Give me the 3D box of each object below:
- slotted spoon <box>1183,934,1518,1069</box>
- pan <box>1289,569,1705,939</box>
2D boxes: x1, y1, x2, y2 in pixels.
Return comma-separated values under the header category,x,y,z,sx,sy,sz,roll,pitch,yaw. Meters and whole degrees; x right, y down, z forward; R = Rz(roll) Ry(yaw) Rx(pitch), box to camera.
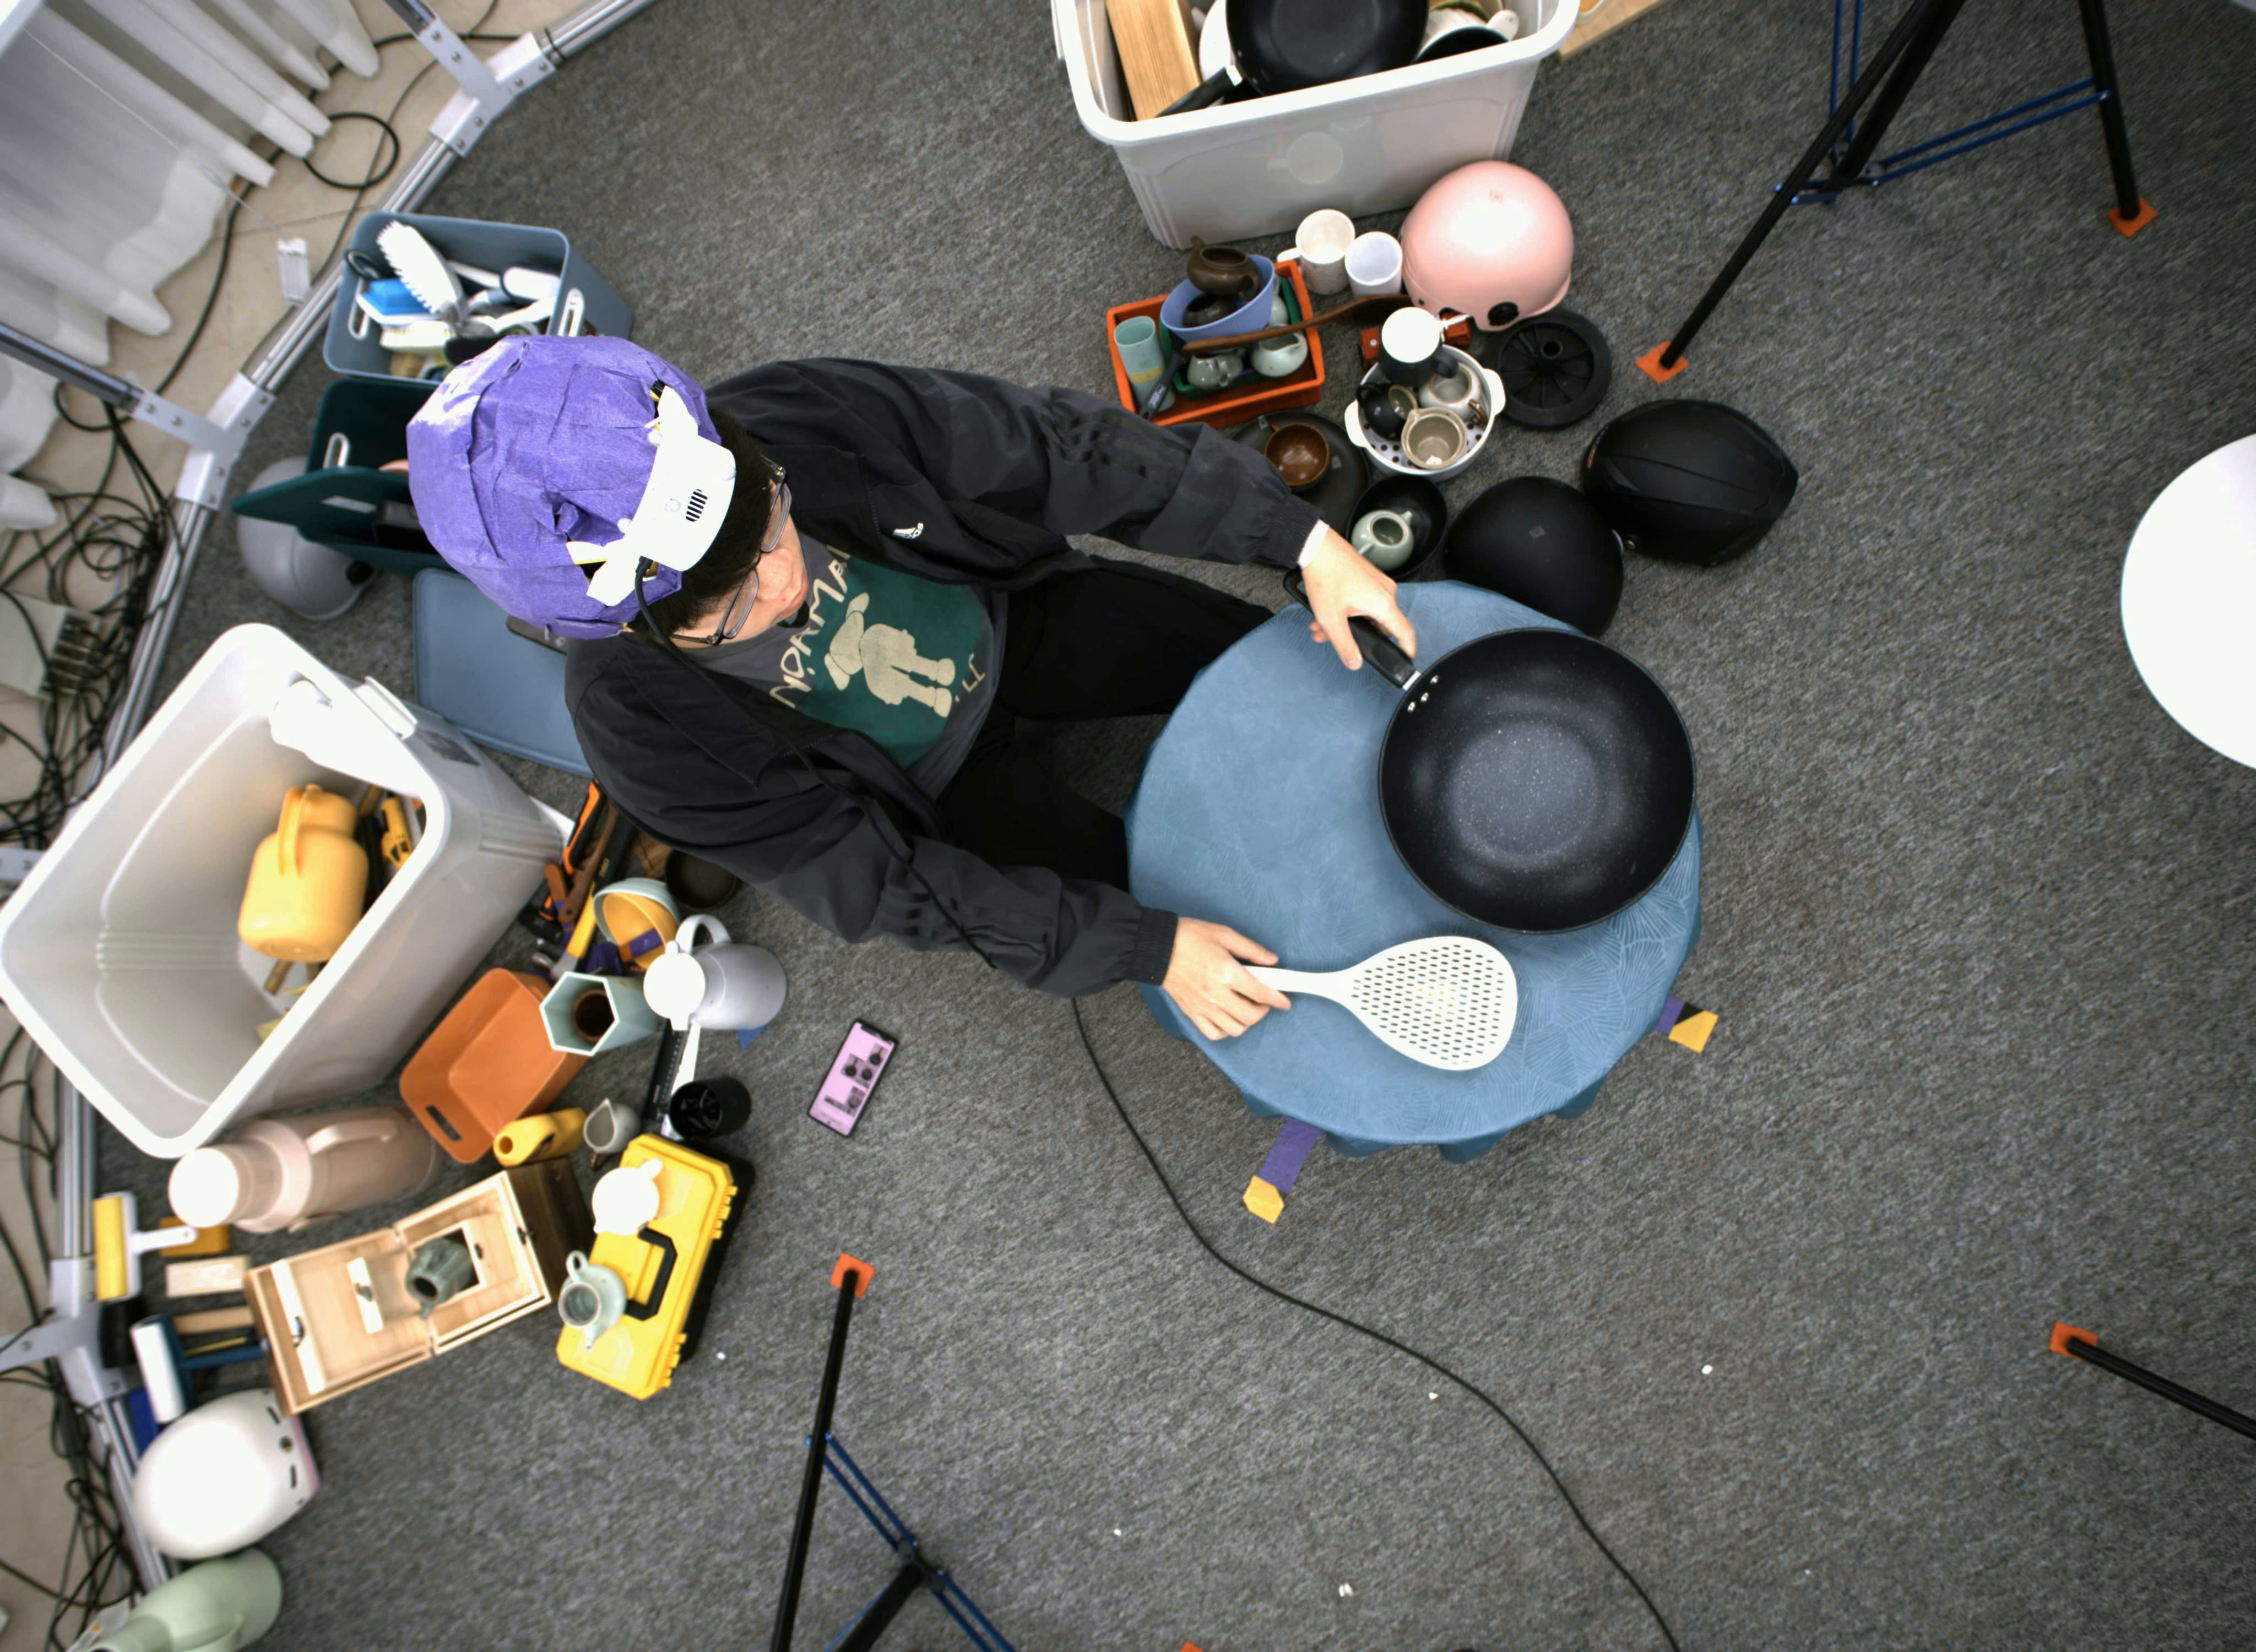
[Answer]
category,x,y,z,sx,sy,sz,roll,pitch,yaw
slotted spoon,0.226,0.167,1.441,0.349,0.050,0.136,6,88,11
pan,0.353,-0.096,1.398,0.475,0.112,0.311,41,93,9
